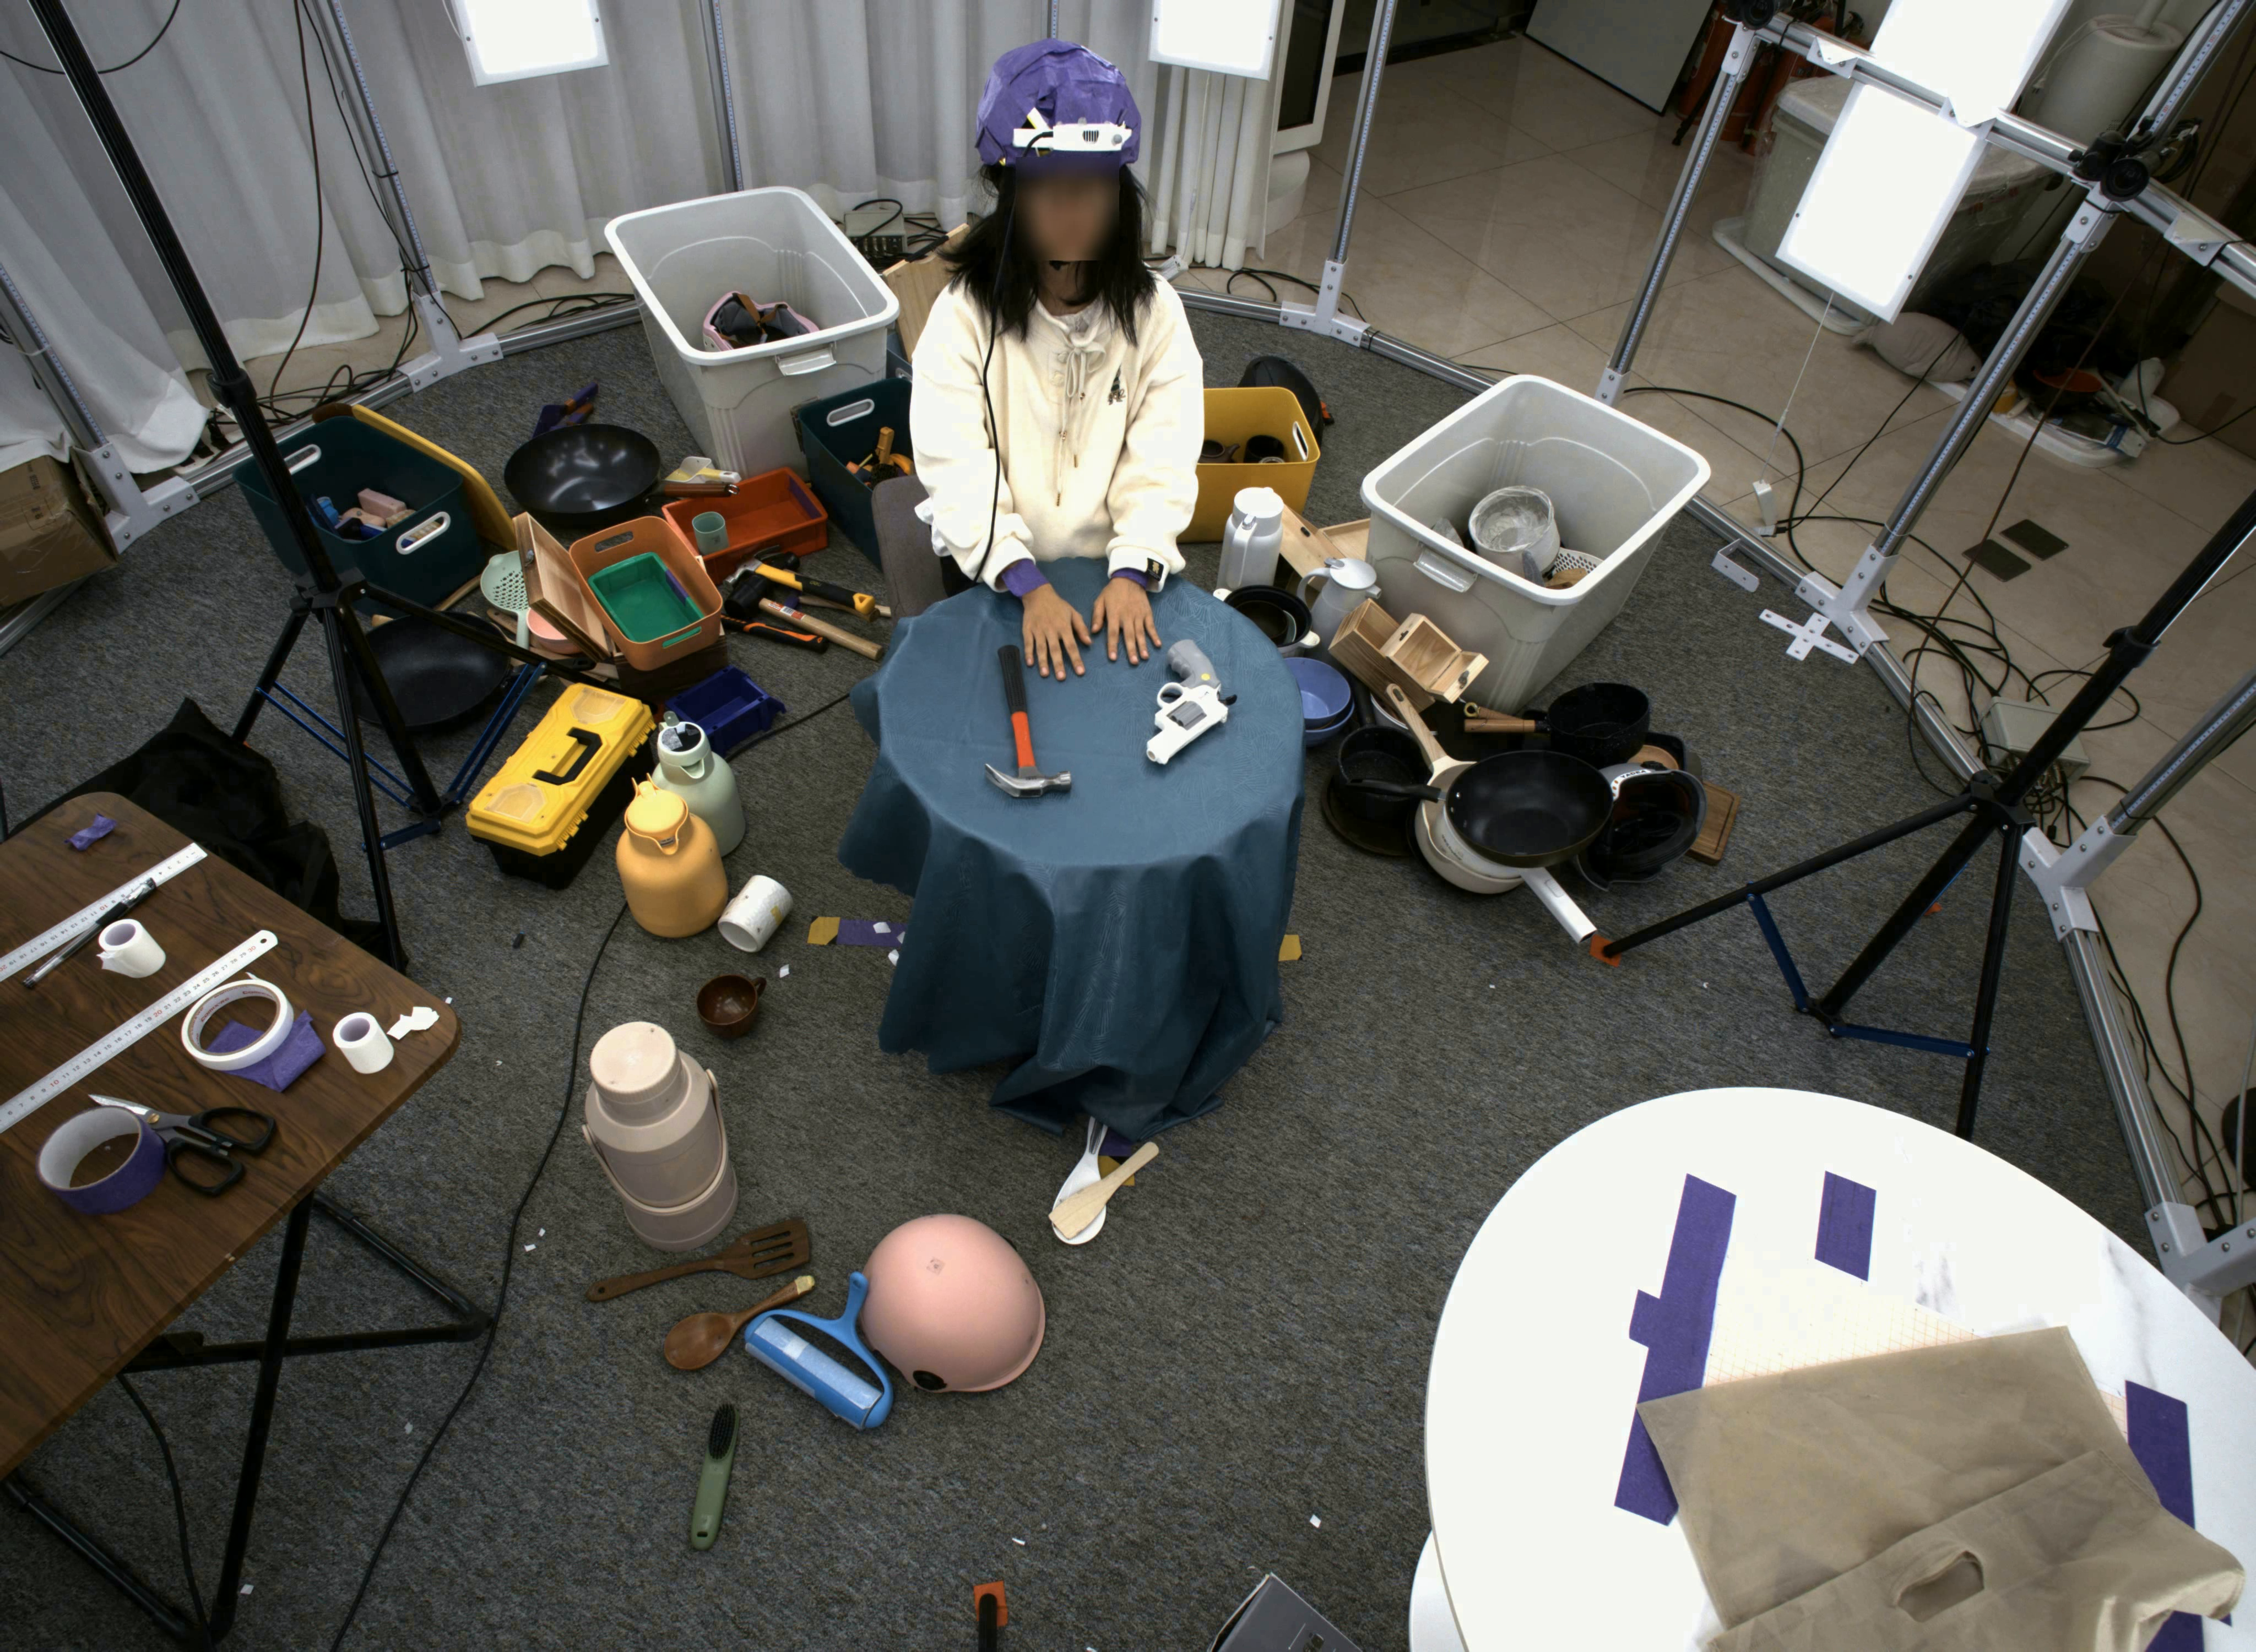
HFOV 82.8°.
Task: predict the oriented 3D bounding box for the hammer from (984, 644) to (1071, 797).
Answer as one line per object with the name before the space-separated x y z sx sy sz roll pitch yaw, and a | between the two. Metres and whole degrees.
hammer | -0.151 -0.151 1.772 0.110 0.026 0.284 -10 50 -2

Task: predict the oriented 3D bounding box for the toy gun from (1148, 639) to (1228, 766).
toy gun | 0.068 -0.177 1.803 0.143 0.038 0.211 36 56 23
